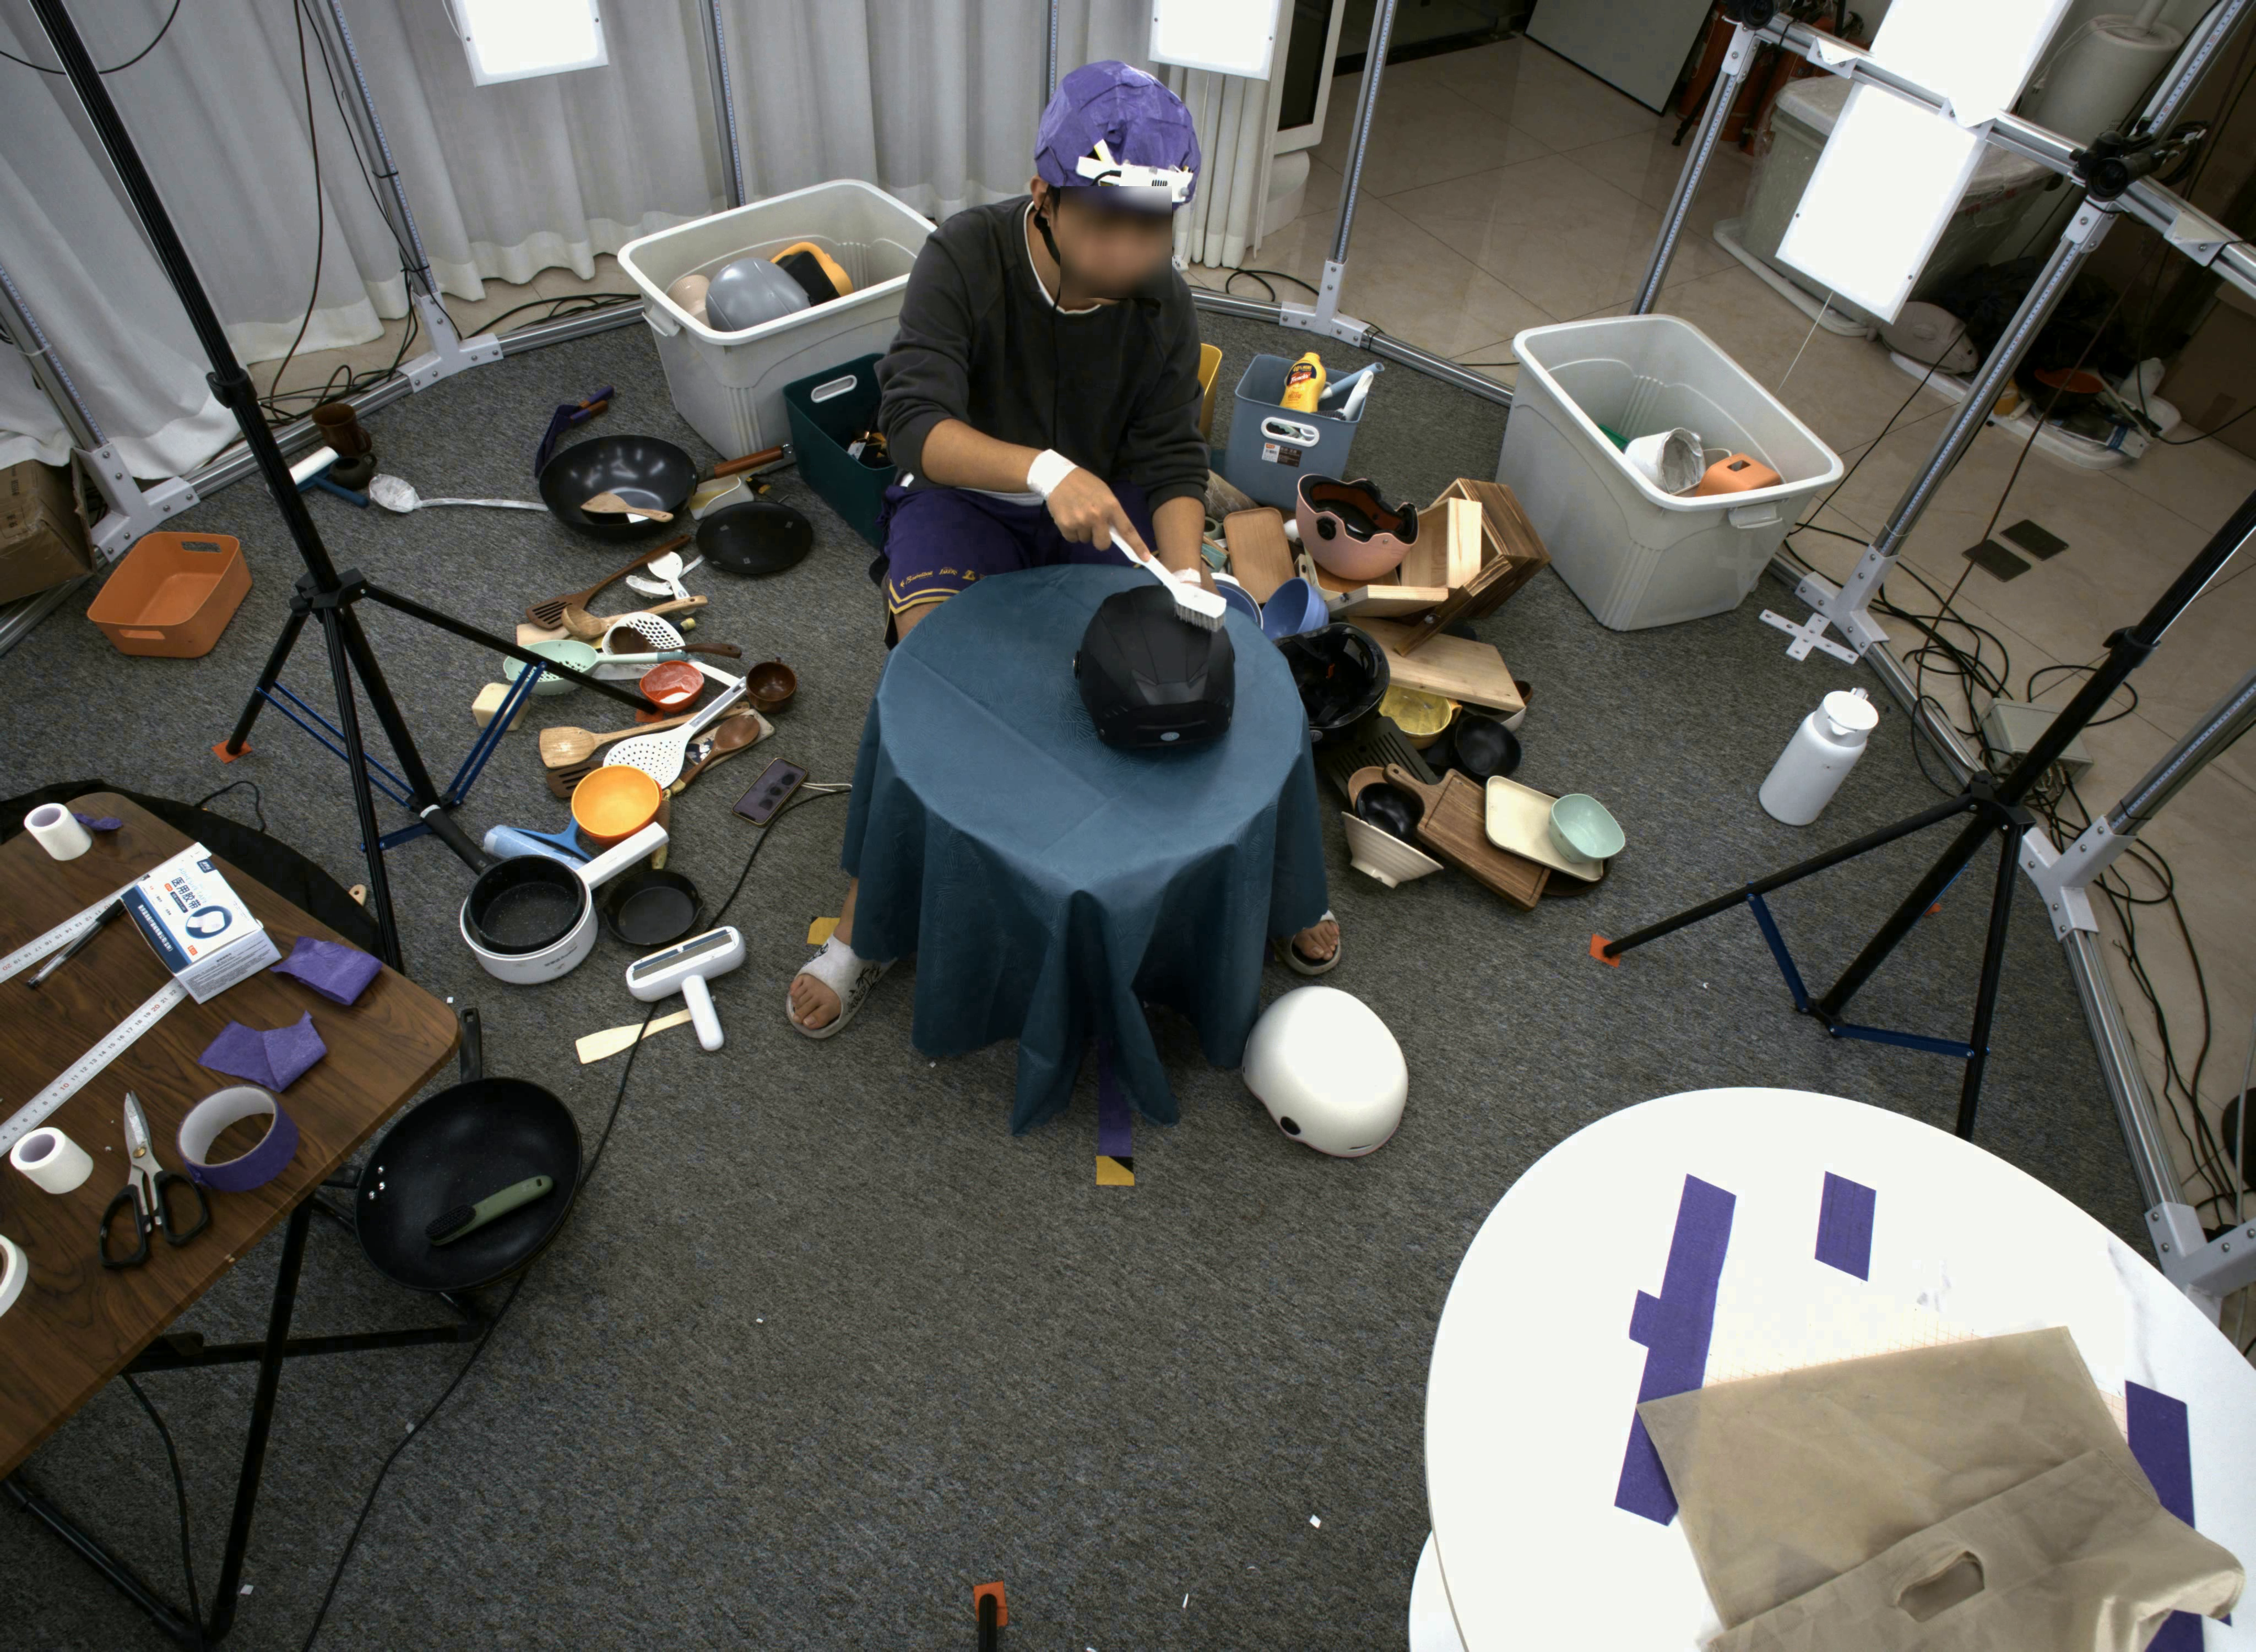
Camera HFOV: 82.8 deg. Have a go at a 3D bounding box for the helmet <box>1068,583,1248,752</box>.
[{"bbox_3d":[0.044,-0.238,1.769,0.246,0.168,0.283,-4,53,-5],"label":"helmet"}]

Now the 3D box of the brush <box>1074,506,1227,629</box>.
[{"bbox_3d":[0.027,-0.337,1.694,0.244,0.049,0.035,34,51,2],"label":"brush"}]
